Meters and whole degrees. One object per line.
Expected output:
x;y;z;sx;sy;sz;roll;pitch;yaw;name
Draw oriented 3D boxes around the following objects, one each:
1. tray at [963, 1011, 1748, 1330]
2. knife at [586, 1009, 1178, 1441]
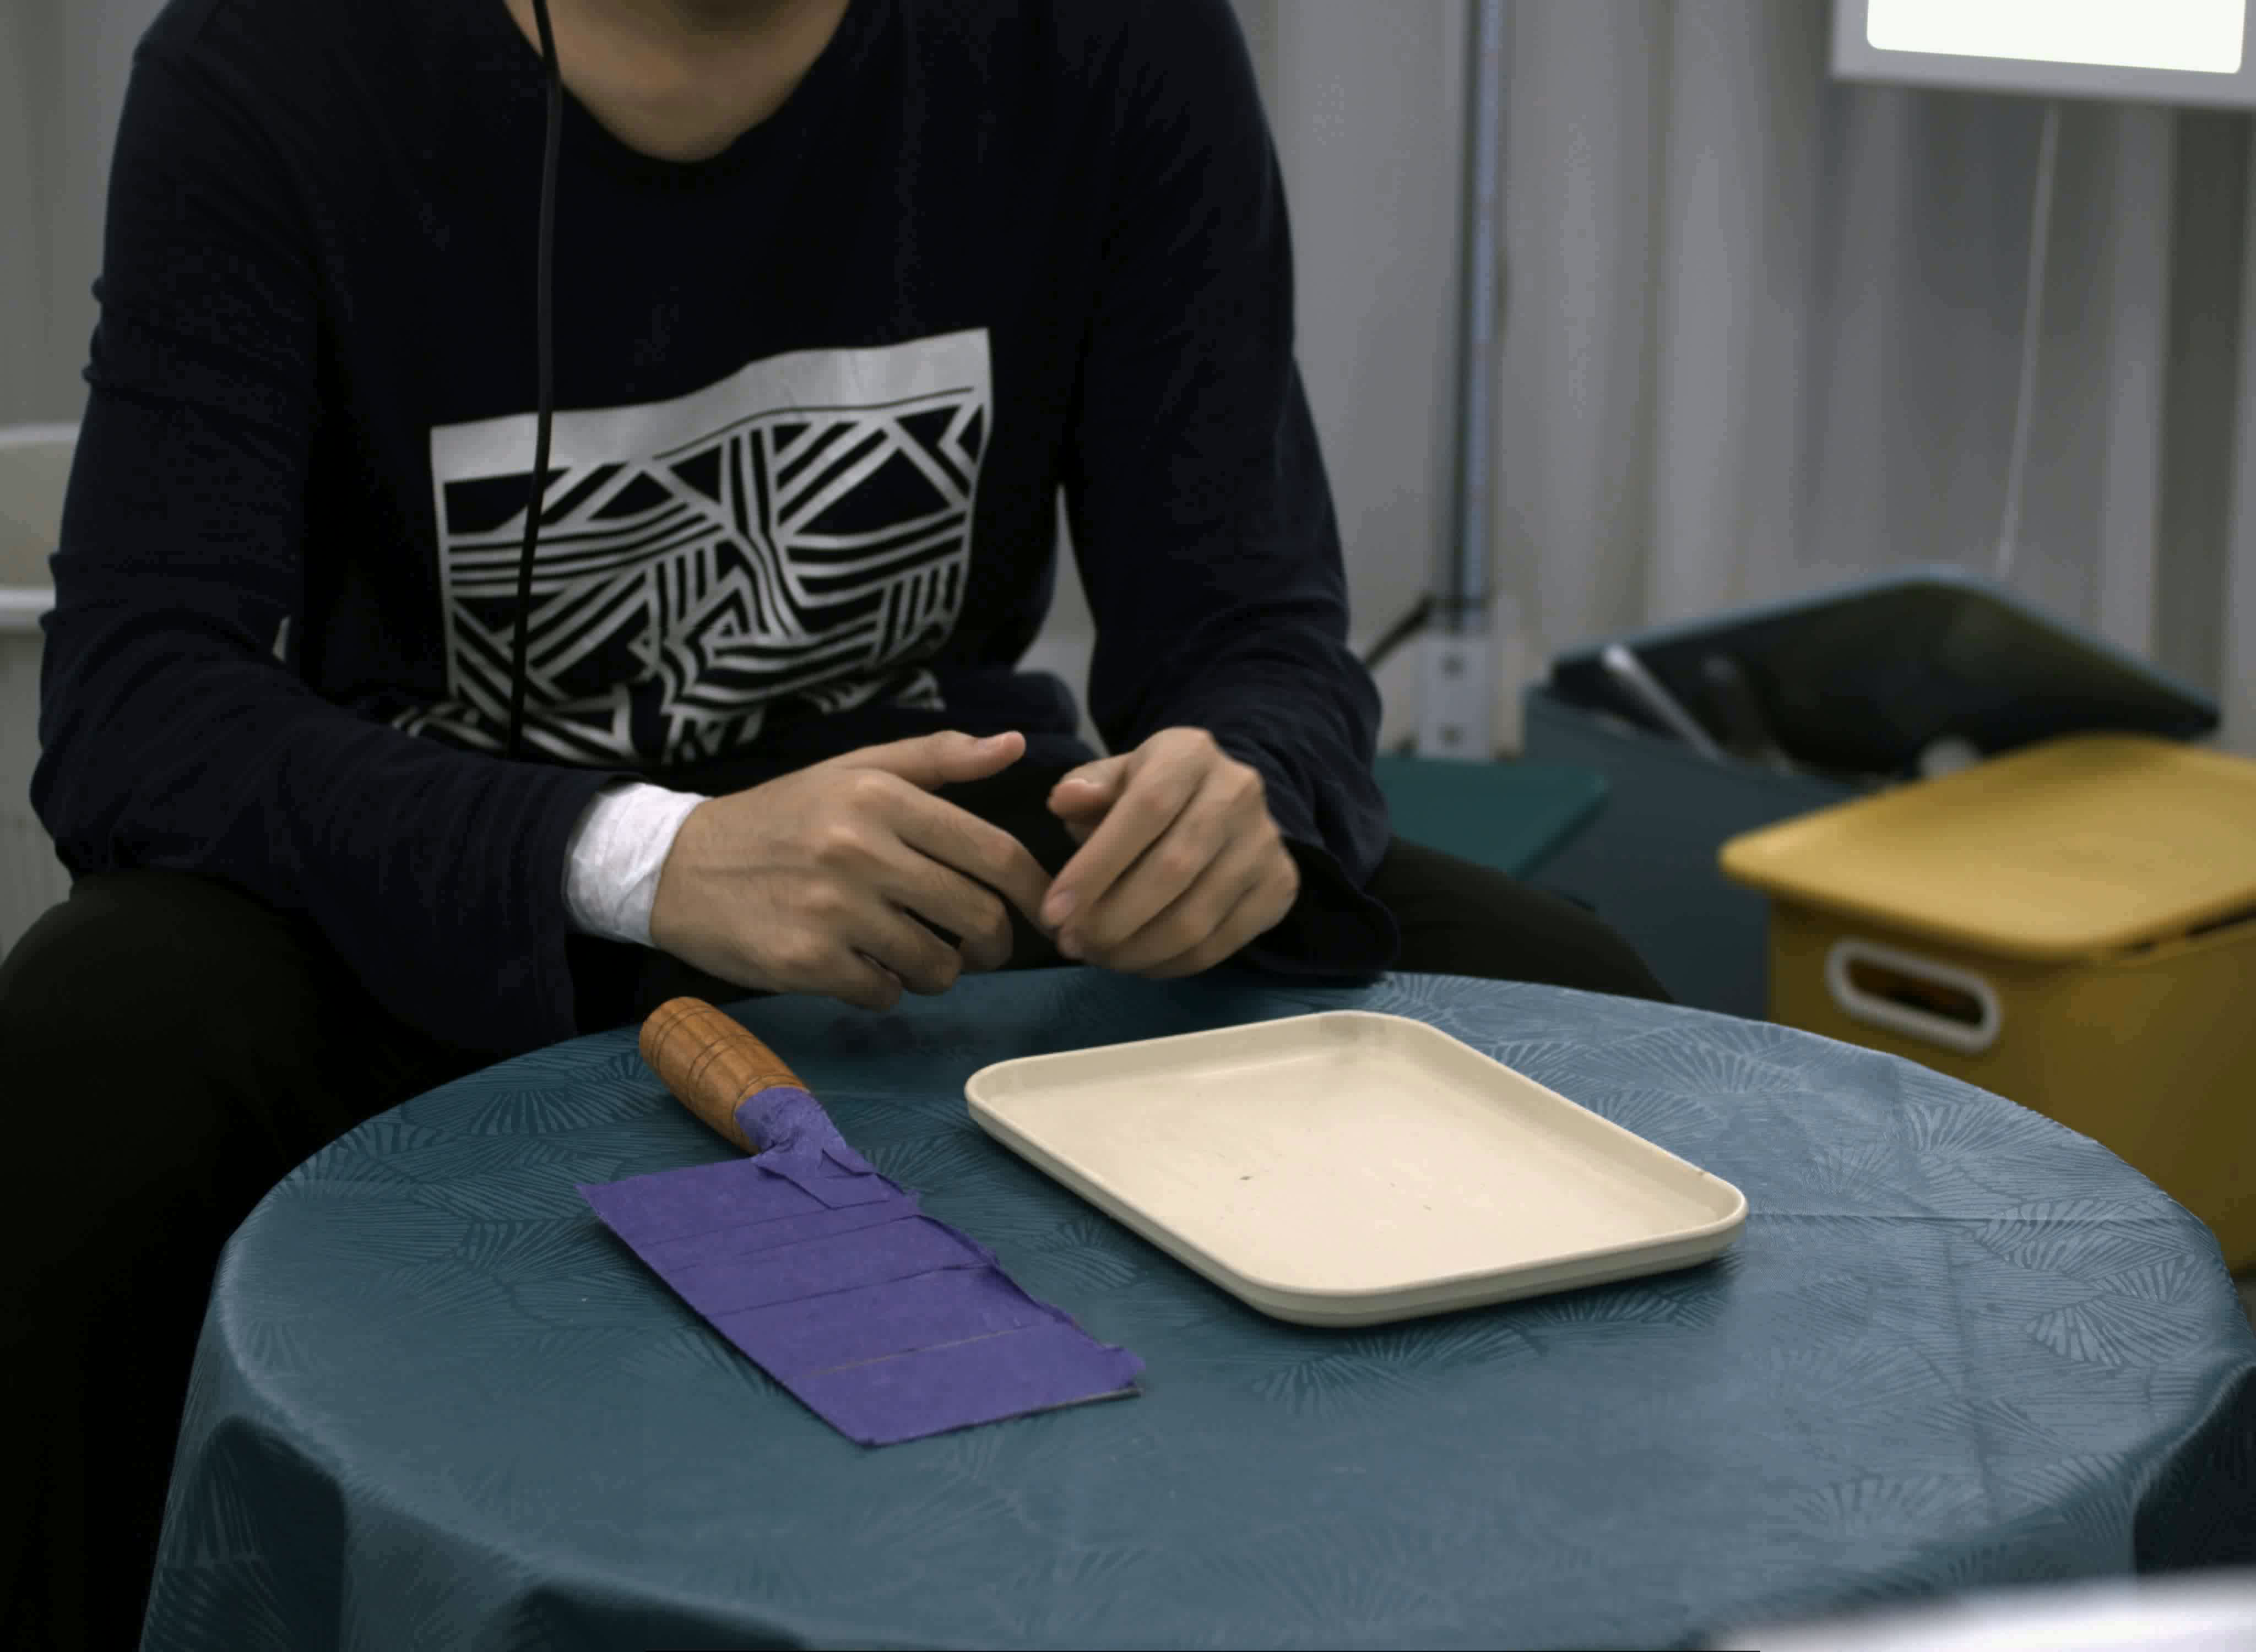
0.066;0.104;1.623;0.172;0.017;0.236;-8;17;-26;tray
-0.103;0.114;1.564;0.104;0.032;0.311;-7;18;-28;knife
